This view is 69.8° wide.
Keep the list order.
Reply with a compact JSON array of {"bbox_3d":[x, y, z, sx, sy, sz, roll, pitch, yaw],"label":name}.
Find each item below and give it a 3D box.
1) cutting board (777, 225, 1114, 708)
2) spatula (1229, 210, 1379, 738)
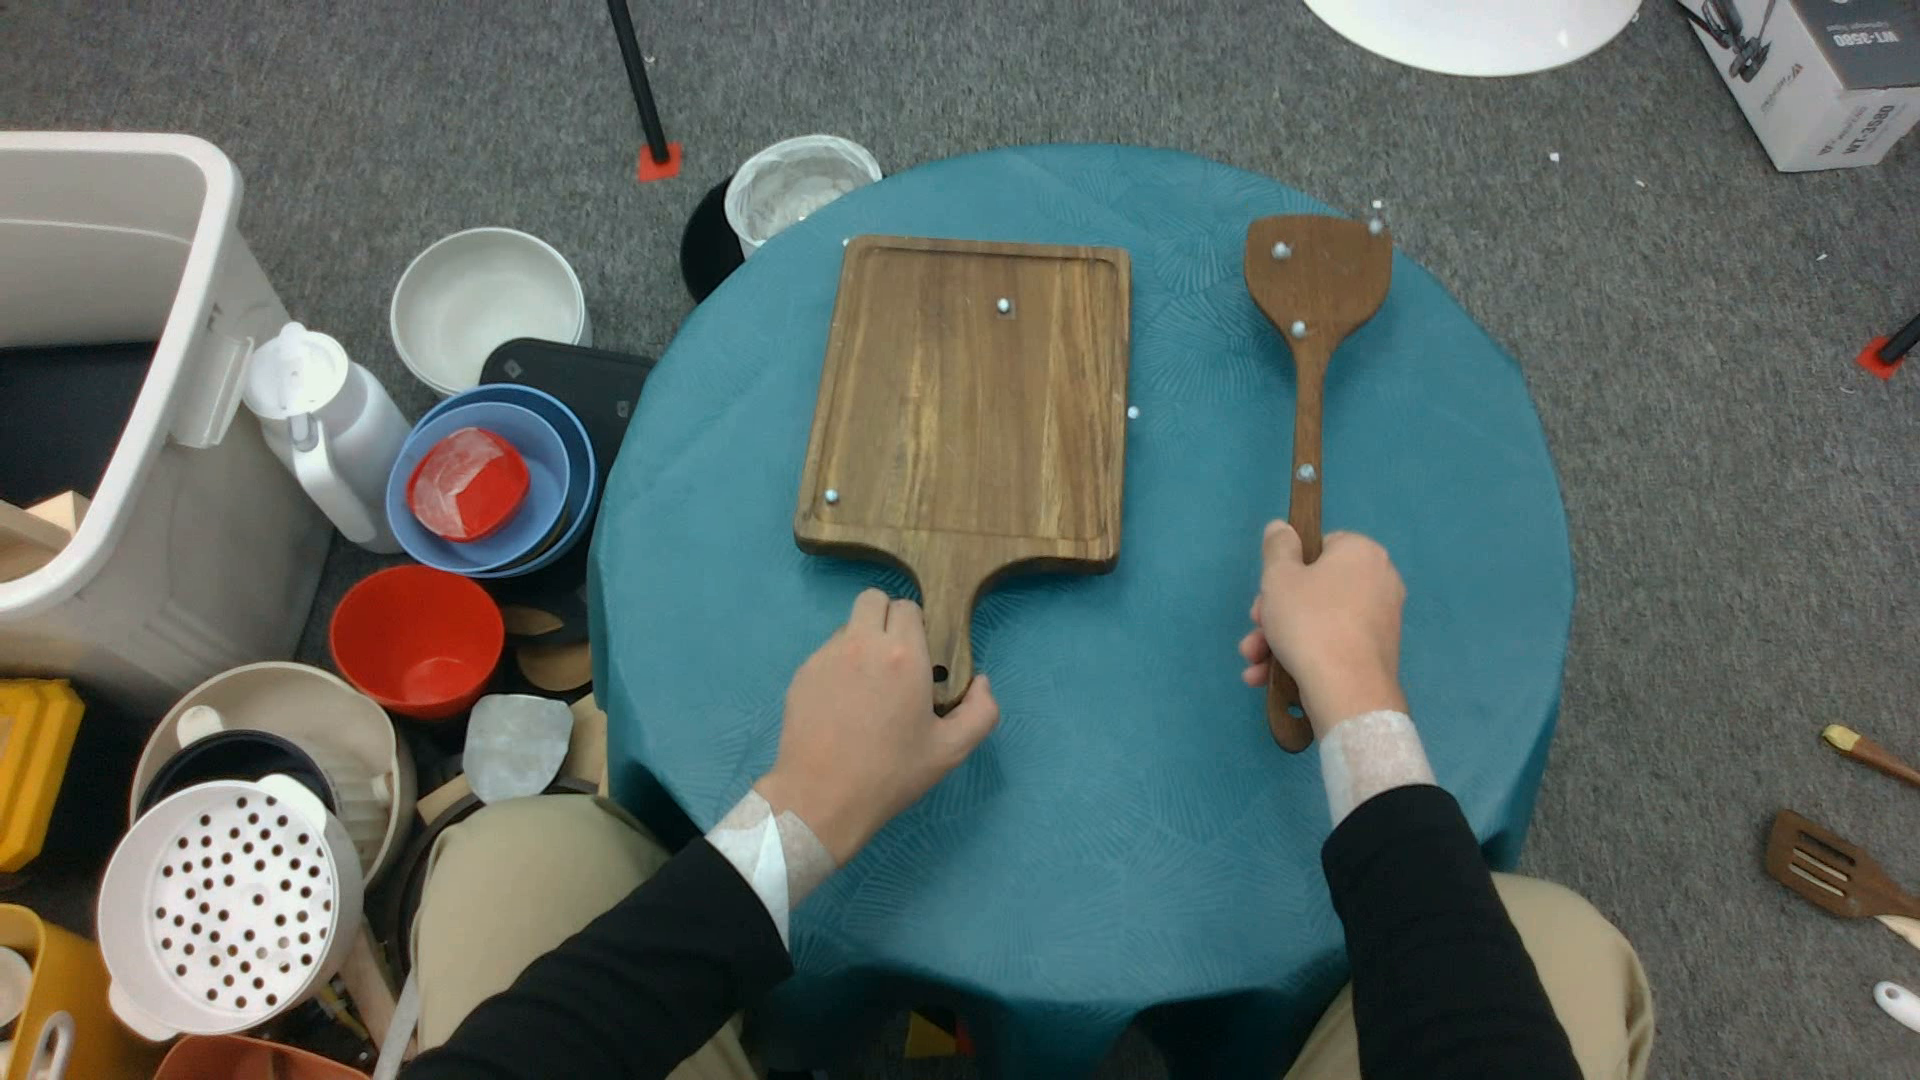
[{"bbox_3d":[-0.006,-0.060,0.850,0.201,0.023,0.353,3,58,3],"label":"cutting board"},{"bbox_3d":[0.199,-0.060,0.816,0.096,0.016,0.388,7,57,7],"label":"spatula"}]
